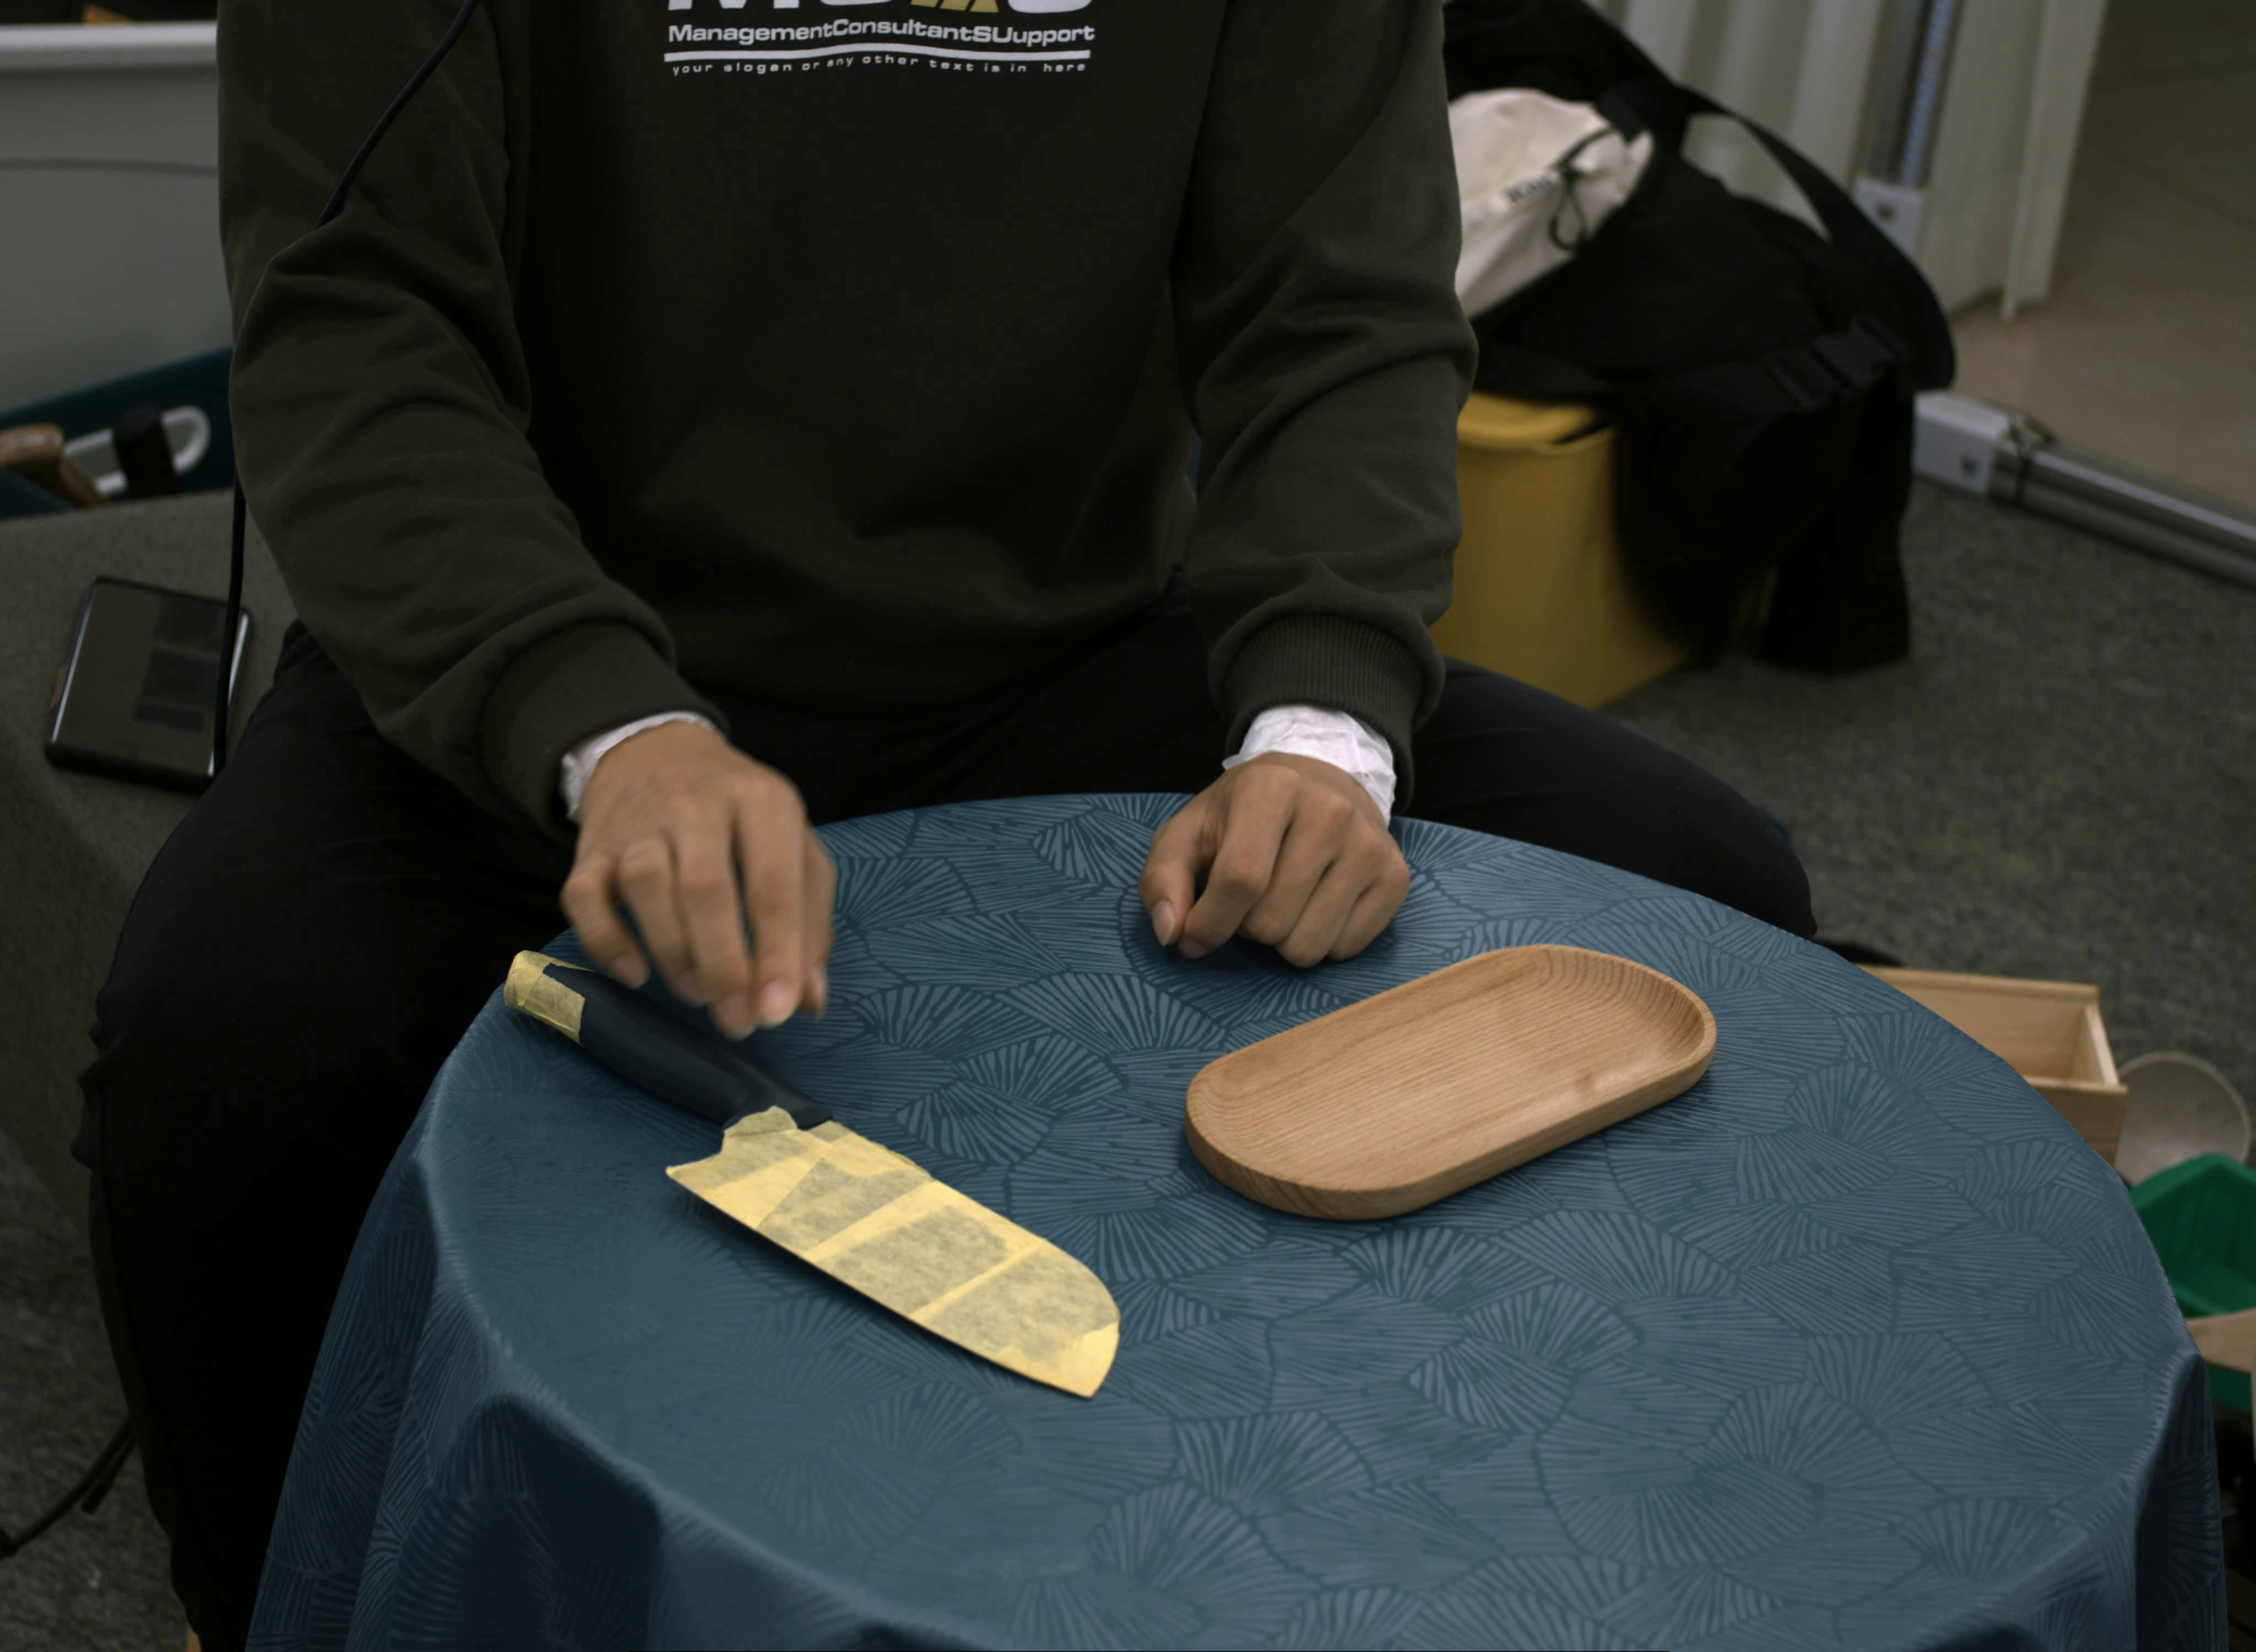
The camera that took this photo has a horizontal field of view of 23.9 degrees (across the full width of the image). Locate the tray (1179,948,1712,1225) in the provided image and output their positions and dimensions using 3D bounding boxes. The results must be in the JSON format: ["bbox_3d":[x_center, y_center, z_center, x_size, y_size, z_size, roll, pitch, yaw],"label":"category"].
[{"bbox_3d":[0.114,0.091,1.878,0.230,0.020,0.102,-21,36,-40],"label":"tray"}]

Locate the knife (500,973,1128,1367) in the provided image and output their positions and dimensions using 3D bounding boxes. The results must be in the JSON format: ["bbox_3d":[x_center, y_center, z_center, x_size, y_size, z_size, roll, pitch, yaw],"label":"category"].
[{"bbox_3d":[-0.113,0.116,1.778,0.291,0.027,0.080,27,29,33],"label":"knife"}]
